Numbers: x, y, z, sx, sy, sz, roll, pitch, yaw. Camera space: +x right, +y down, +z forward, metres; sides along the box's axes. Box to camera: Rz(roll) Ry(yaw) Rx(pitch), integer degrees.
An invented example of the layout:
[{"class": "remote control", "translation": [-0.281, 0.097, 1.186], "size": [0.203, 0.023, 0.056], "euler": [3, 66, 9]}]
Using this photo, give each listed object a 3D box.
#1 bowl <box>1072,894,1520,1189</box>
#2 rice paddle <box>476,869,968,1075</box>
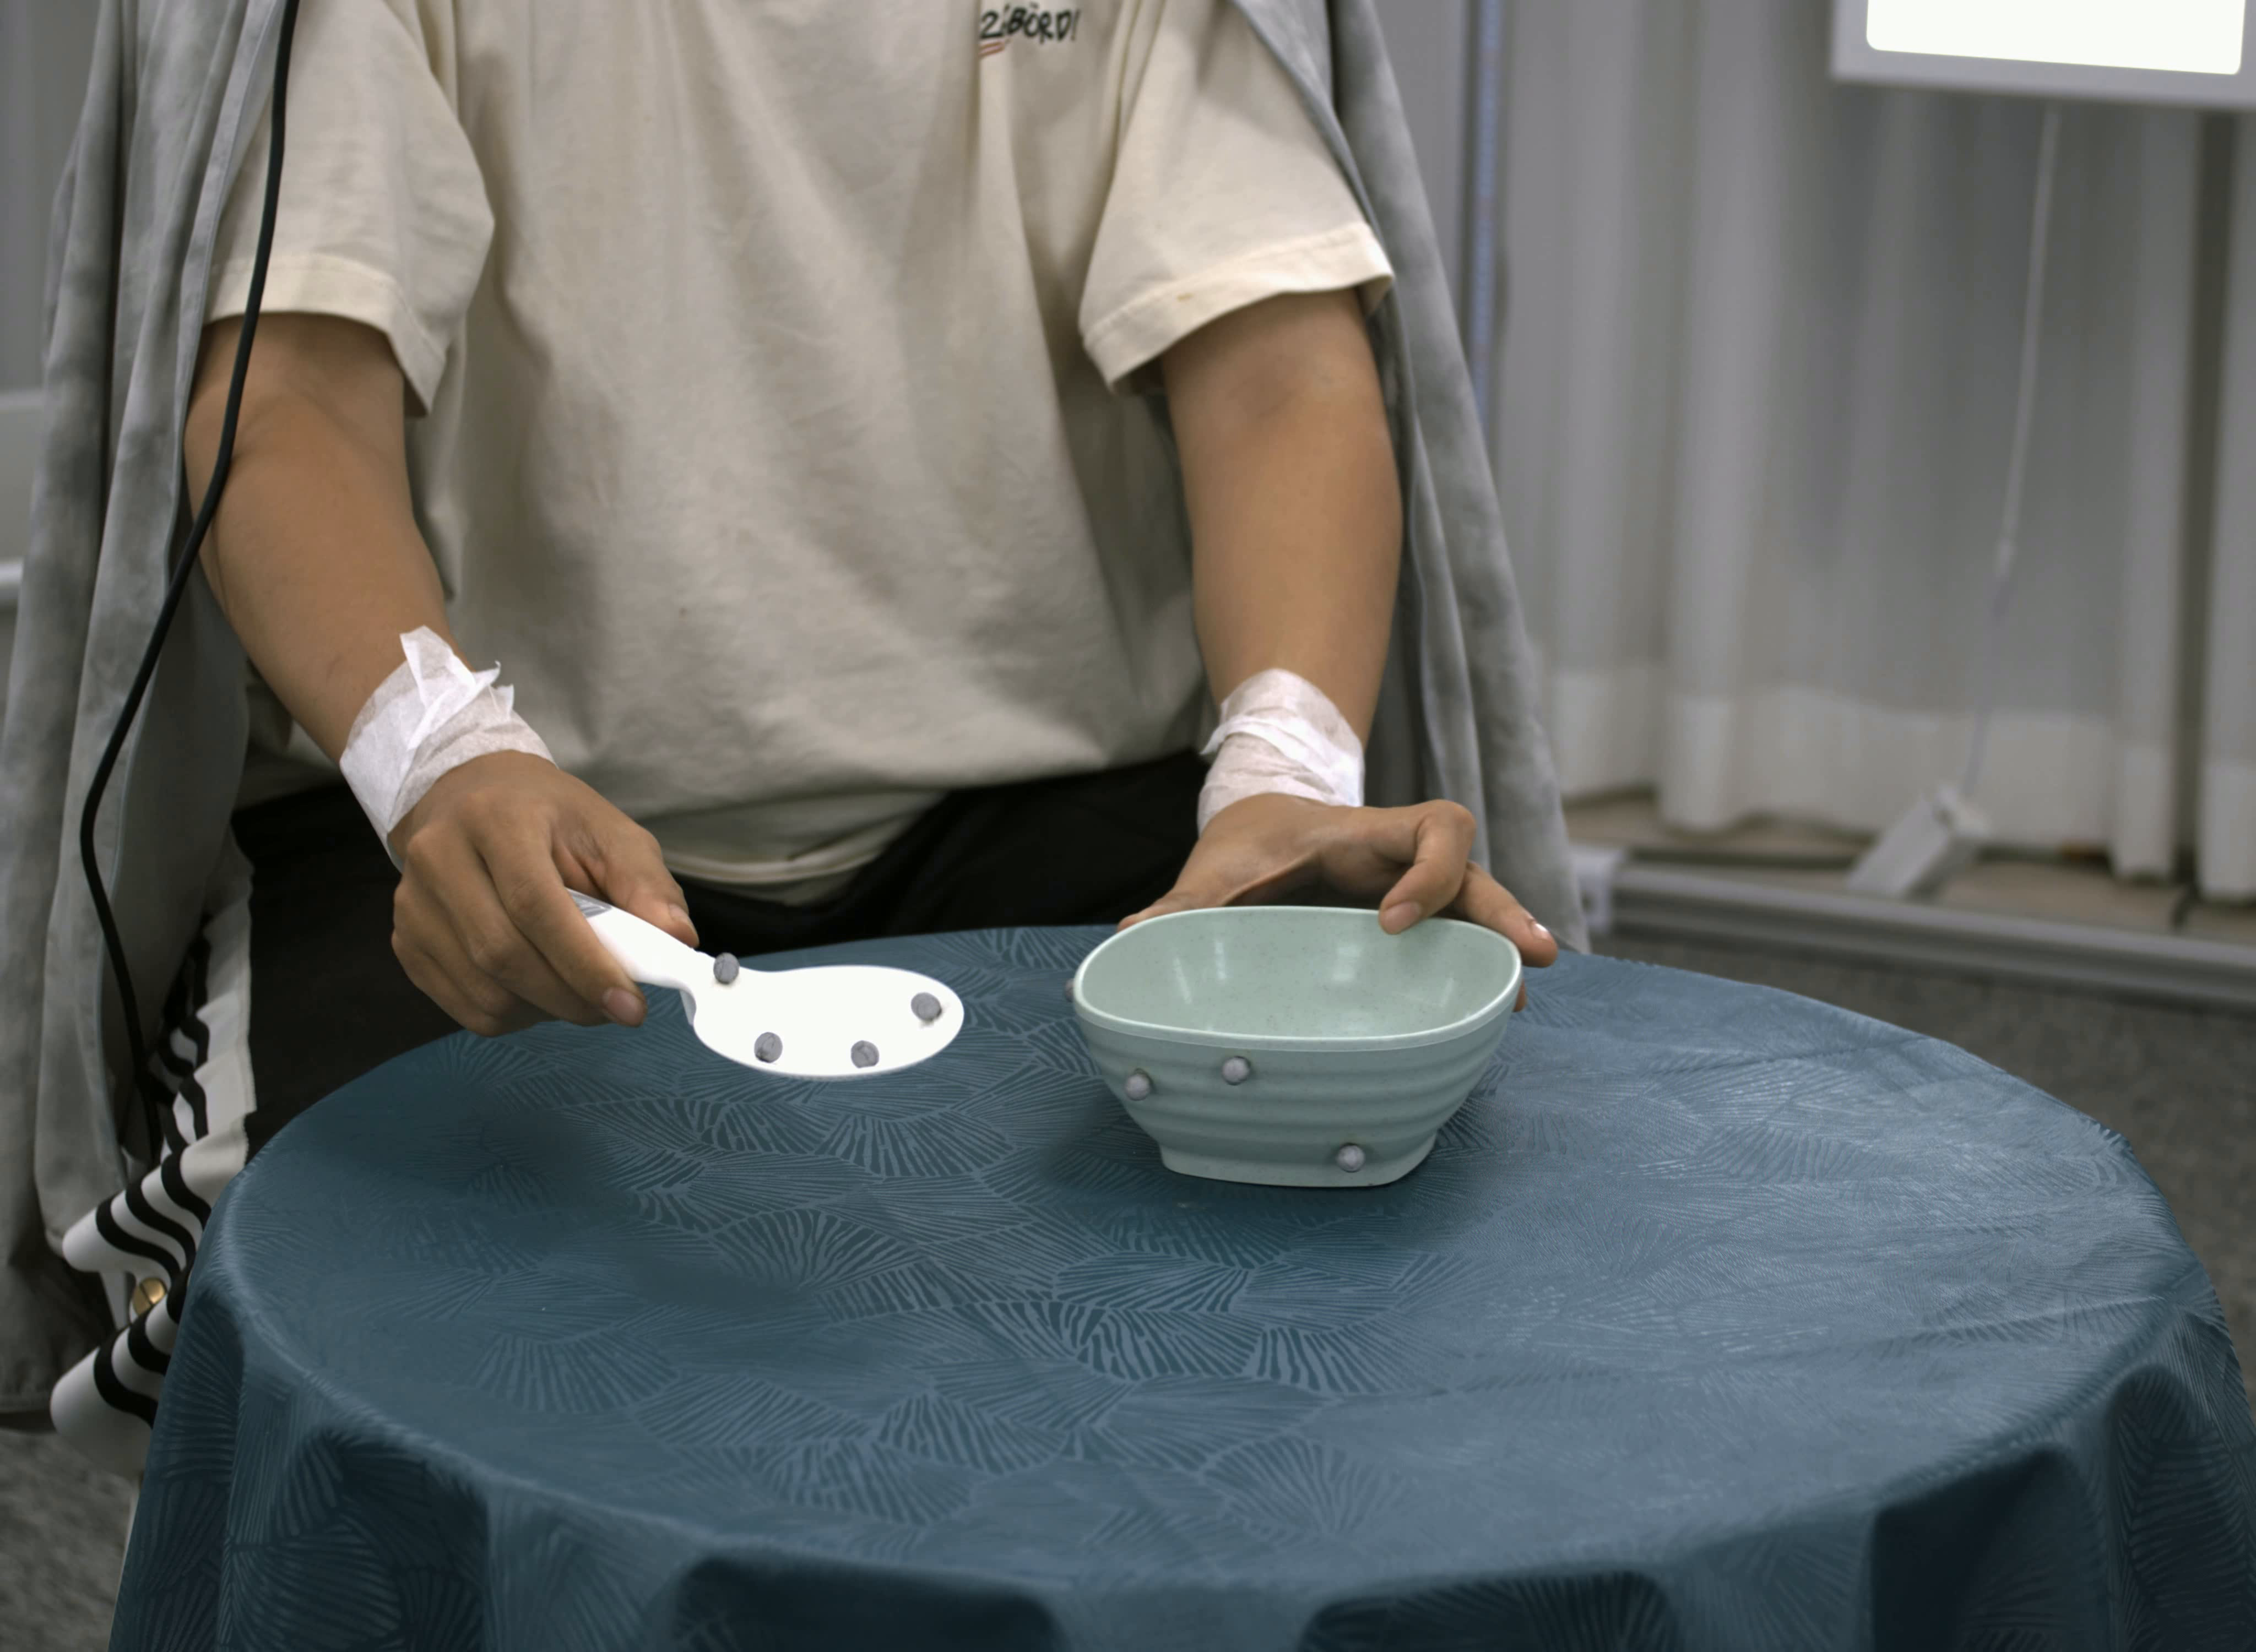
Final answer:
[{"class": "bowl", "translation": [0.054, 0.071, 1.661], "size": [0.151, 0.059, 0.150], "euler": [-2, 19, 1]}, {"class": "rice paddle", "translation": [-0.124, 0.044, 1.574], "size": [0.069, 0.030, 0.202], "euler": [-29, 28, -35]}]
